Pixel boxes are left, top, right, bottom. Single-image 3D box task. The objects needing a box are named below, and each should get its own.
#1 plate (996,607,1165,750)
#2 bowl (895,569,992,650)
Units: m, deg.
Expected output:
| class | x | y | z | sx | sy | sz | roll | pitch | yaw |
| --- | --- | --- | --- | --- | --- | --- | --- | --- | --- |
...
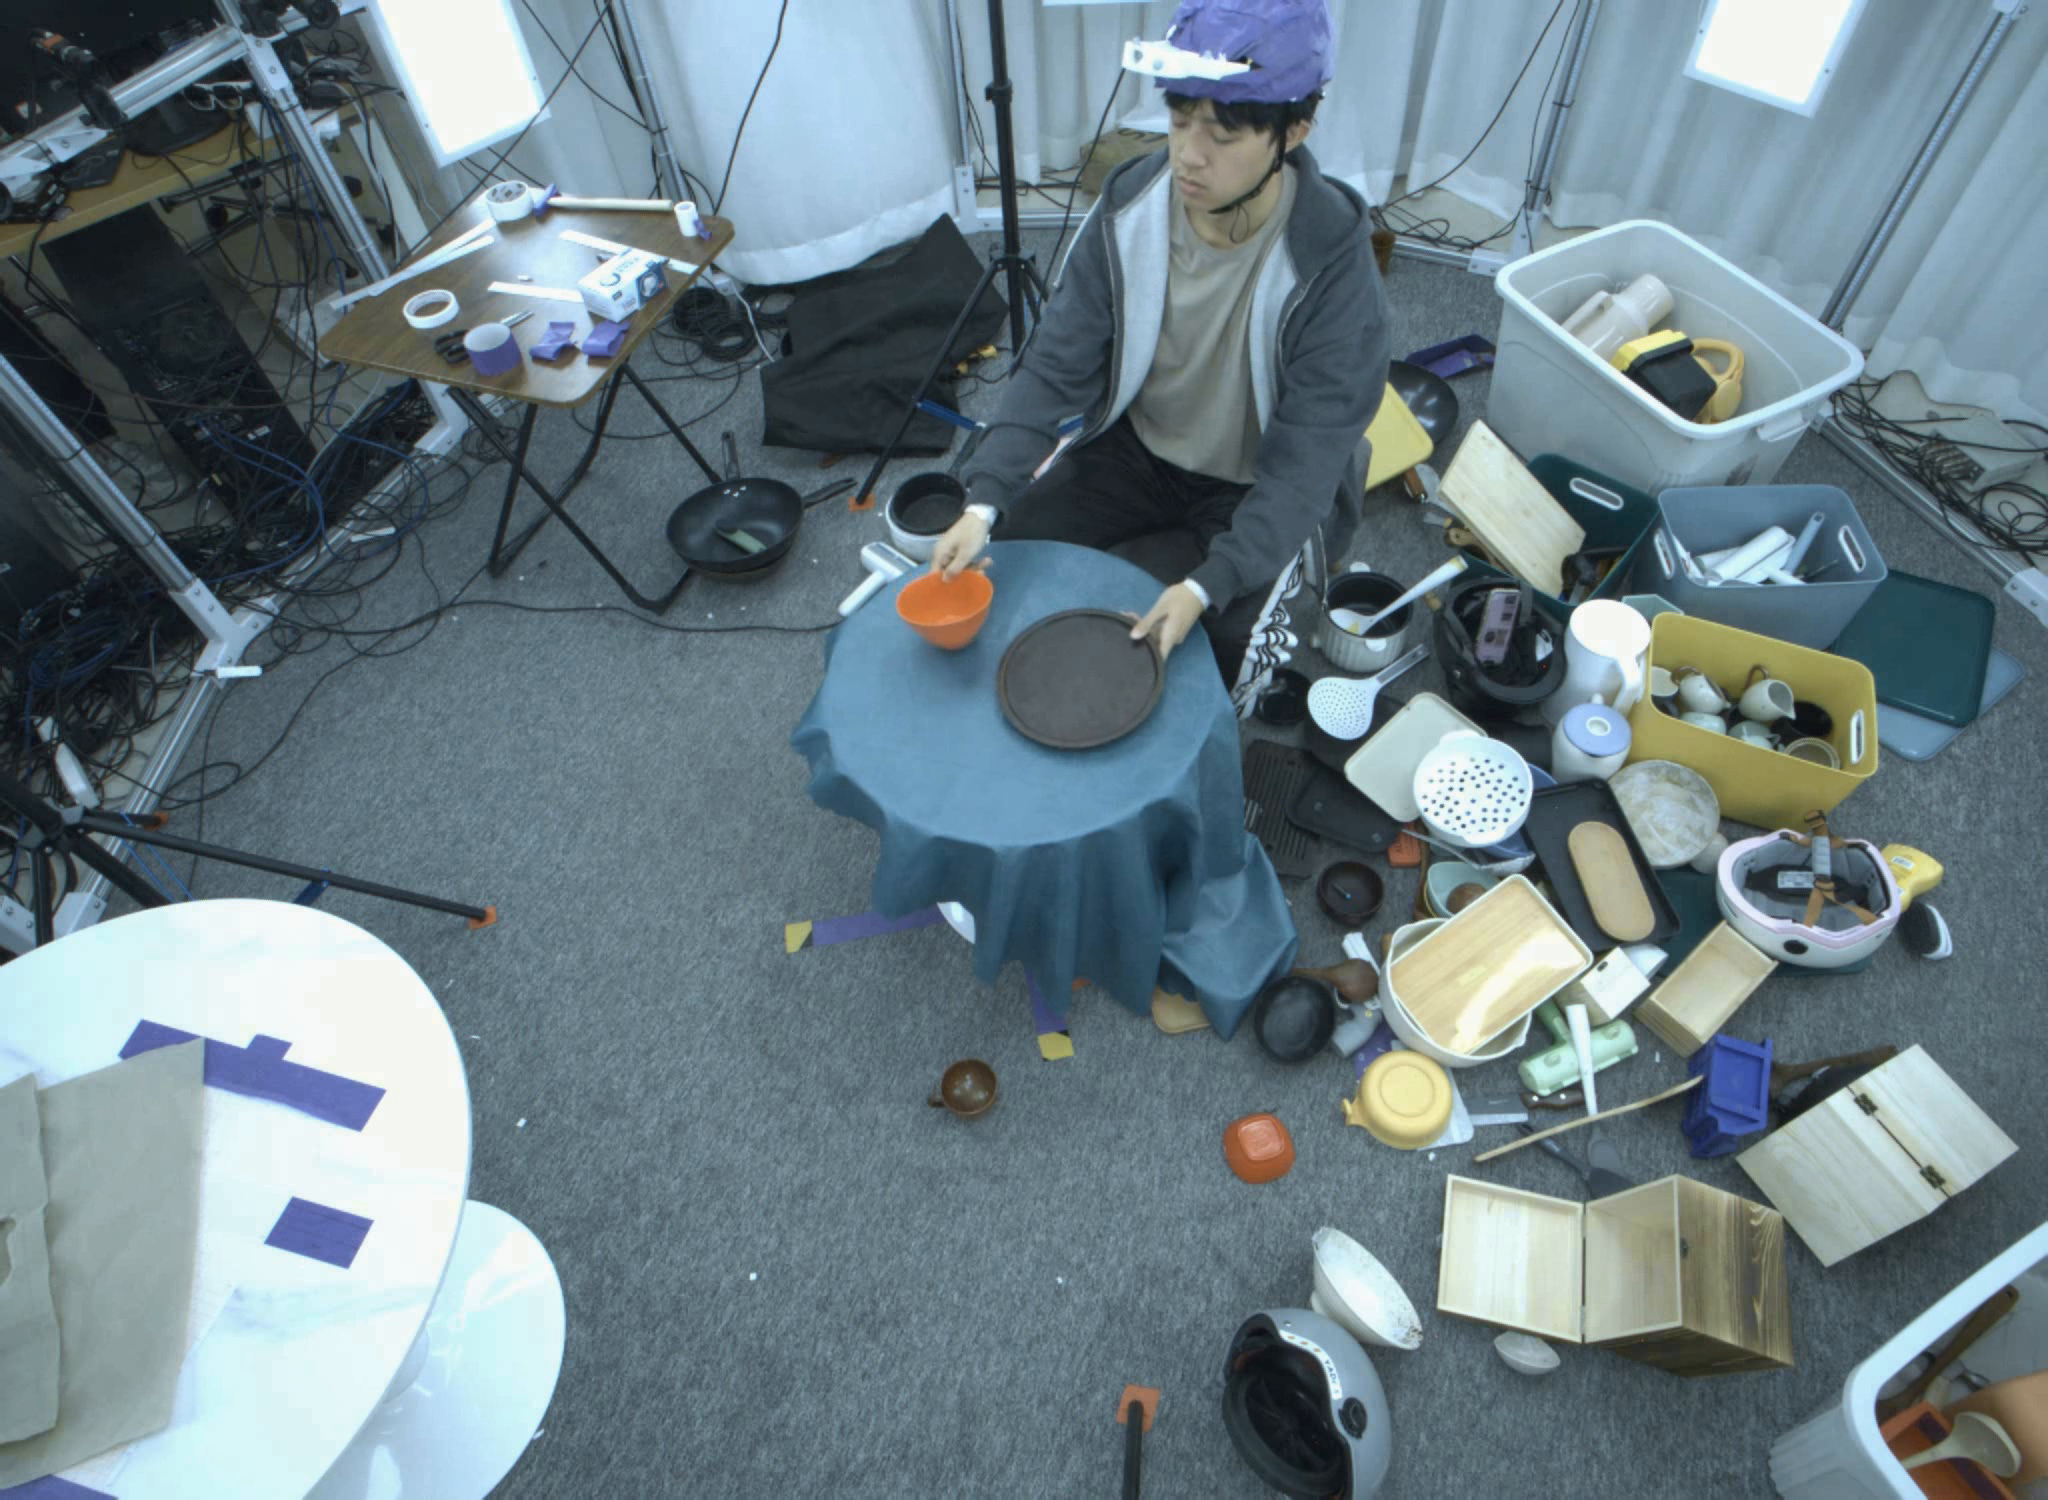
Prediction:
| class | x | y | z | sx | sy | sz | roll | pitch | yaw |
| --- | --- | --- | --- | --- | --- | --- | --- | --- | --- |
| plate | 0.083 | -0.107 | 1.832 | 0.253 | 0.029 | 0.252 | -4 | 58 | 8 |
| bowl | -0.116 | -0.203 | 1.863 | 0.147 | 0.106 | 0.146 | -4 | 51 | 6 |
